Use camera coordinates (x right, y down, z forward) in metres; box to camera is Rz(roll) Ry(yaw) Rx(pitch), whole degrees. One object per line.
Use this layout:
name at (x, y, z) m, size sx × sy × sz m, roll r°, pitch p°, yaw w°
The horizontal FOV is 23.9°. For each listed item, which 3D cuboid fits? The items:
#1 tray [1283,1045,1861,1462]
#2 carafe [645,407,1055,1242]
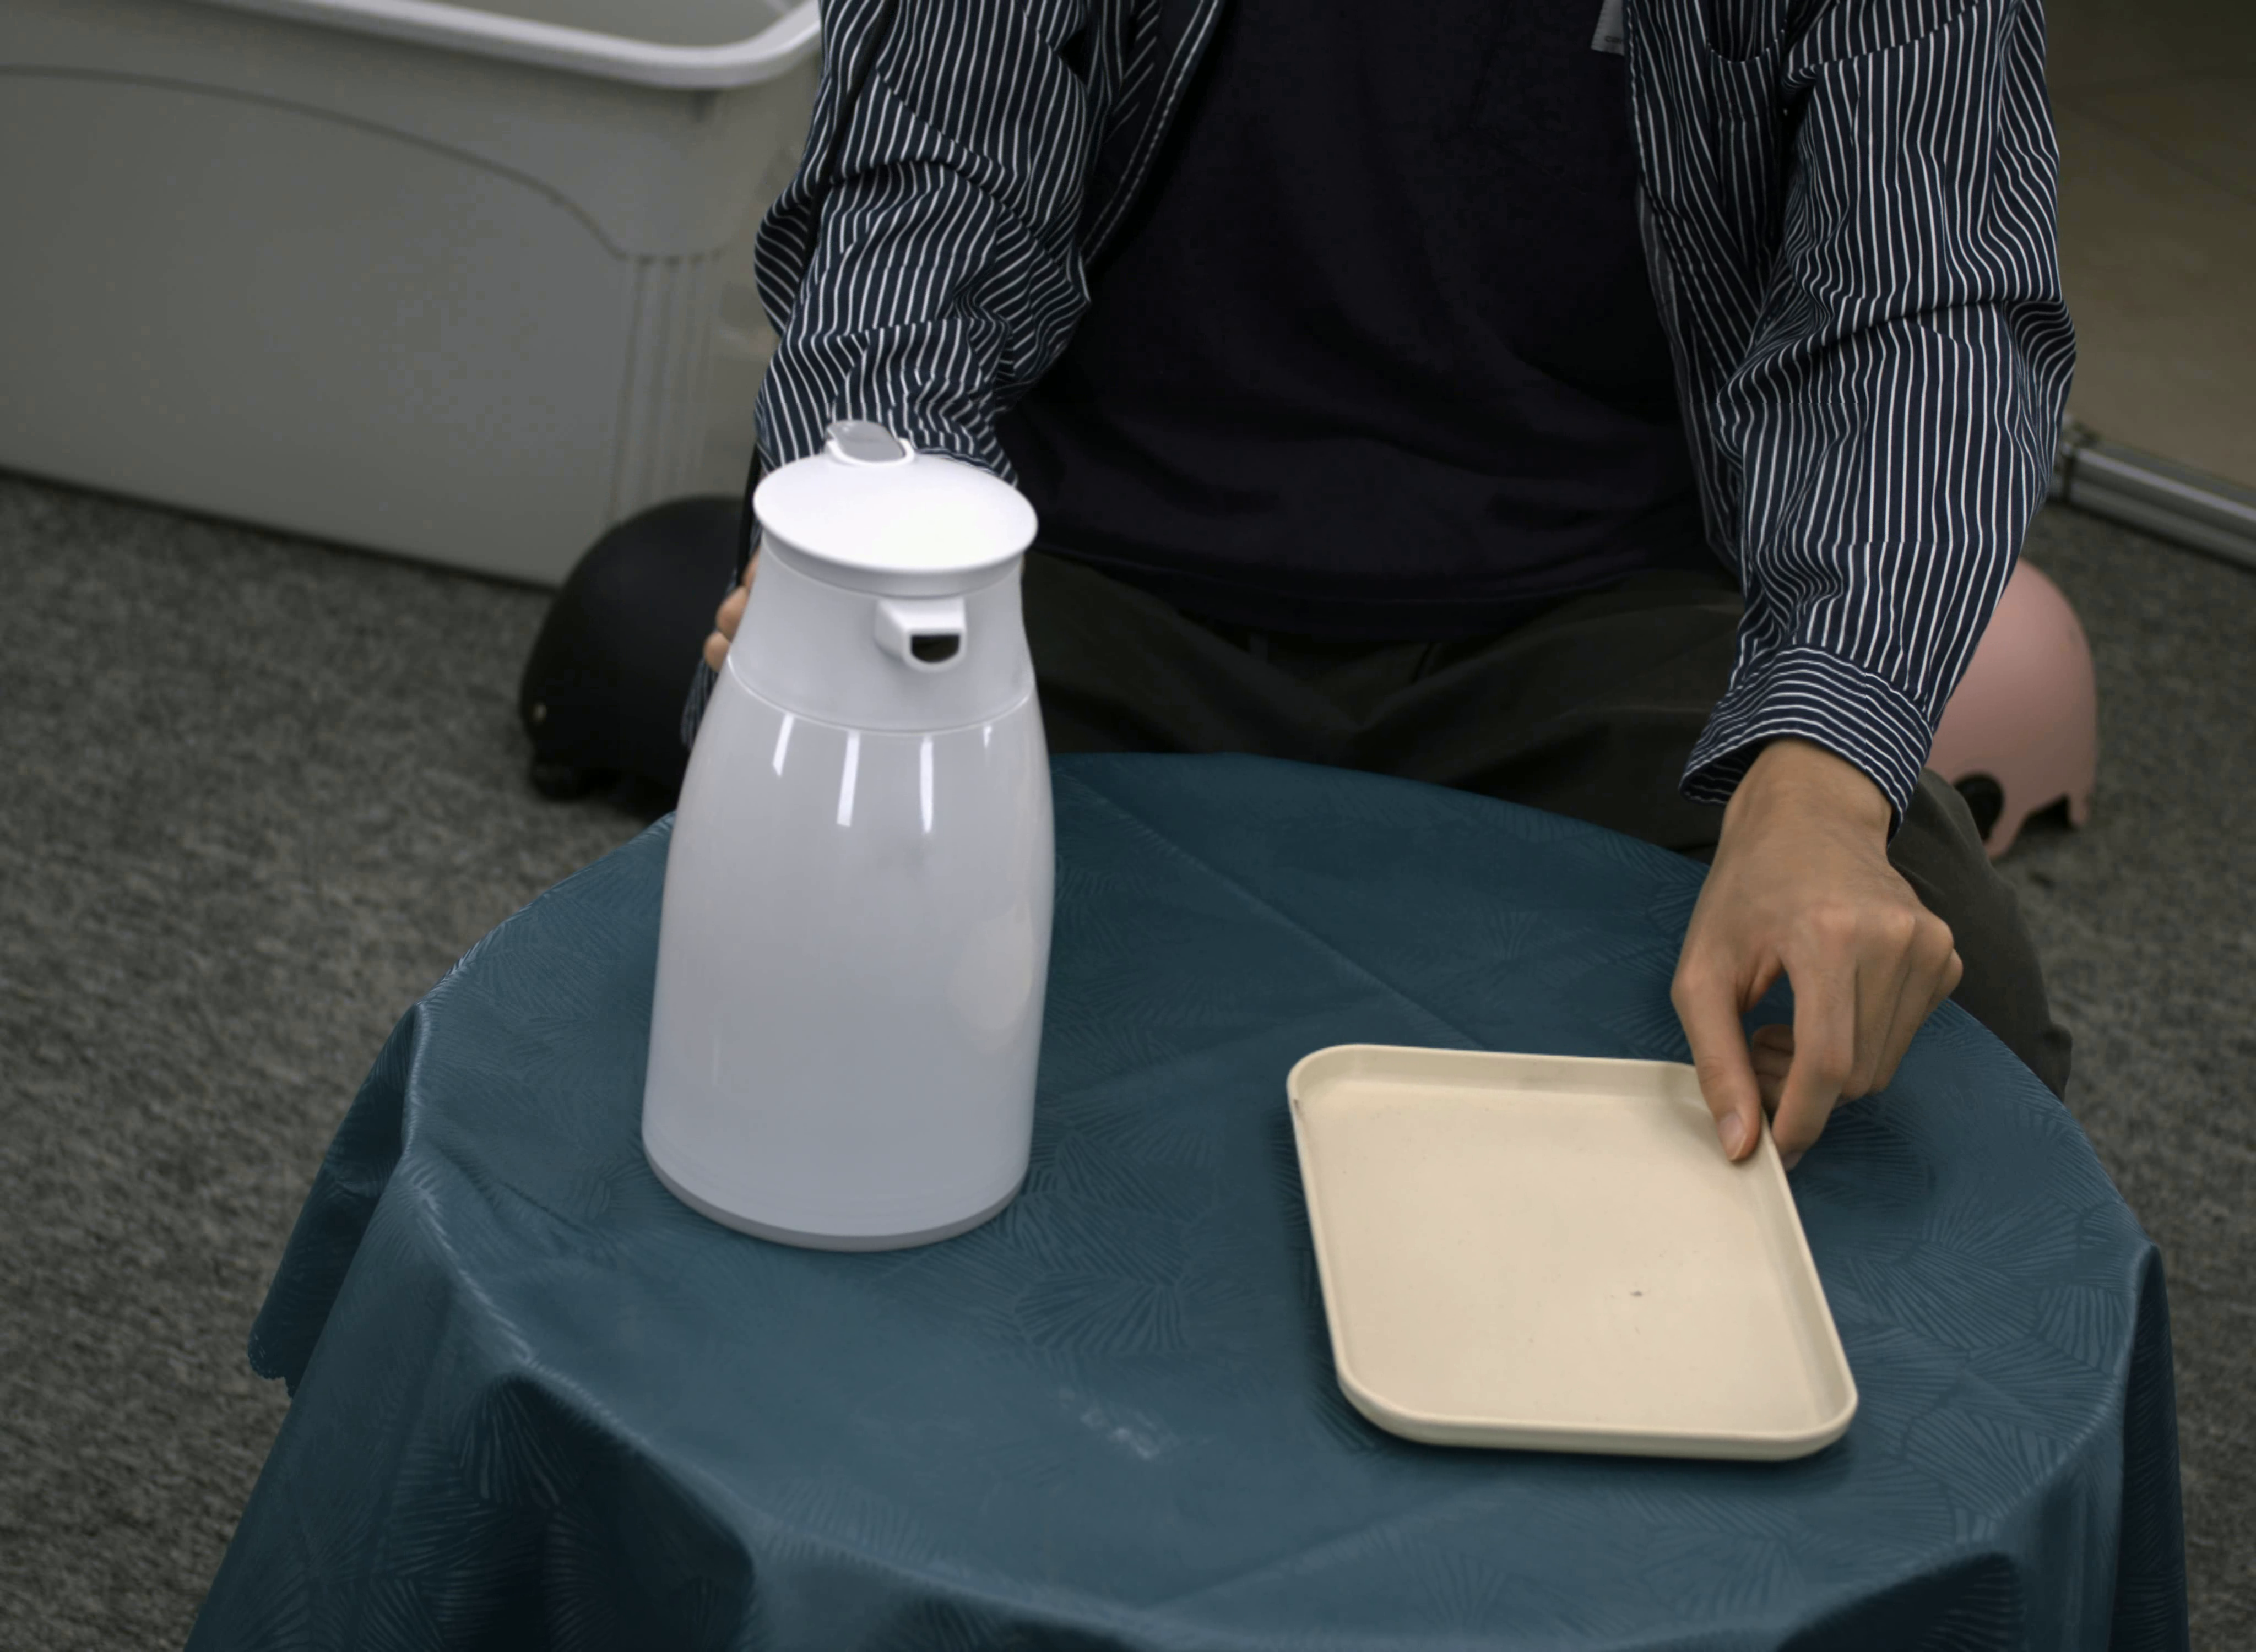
tray at (0.143, 0.142, 1.775) m, size 0.170 × 0.017 × 0.241 m, roll 4°, pitch 26°, yaw -6°
carafe at (-0.094, -0.011, 1.766) m, size 0.132 × 0.248 × 0.169 m, roll -5°, pitch 27°, yaw -20°
